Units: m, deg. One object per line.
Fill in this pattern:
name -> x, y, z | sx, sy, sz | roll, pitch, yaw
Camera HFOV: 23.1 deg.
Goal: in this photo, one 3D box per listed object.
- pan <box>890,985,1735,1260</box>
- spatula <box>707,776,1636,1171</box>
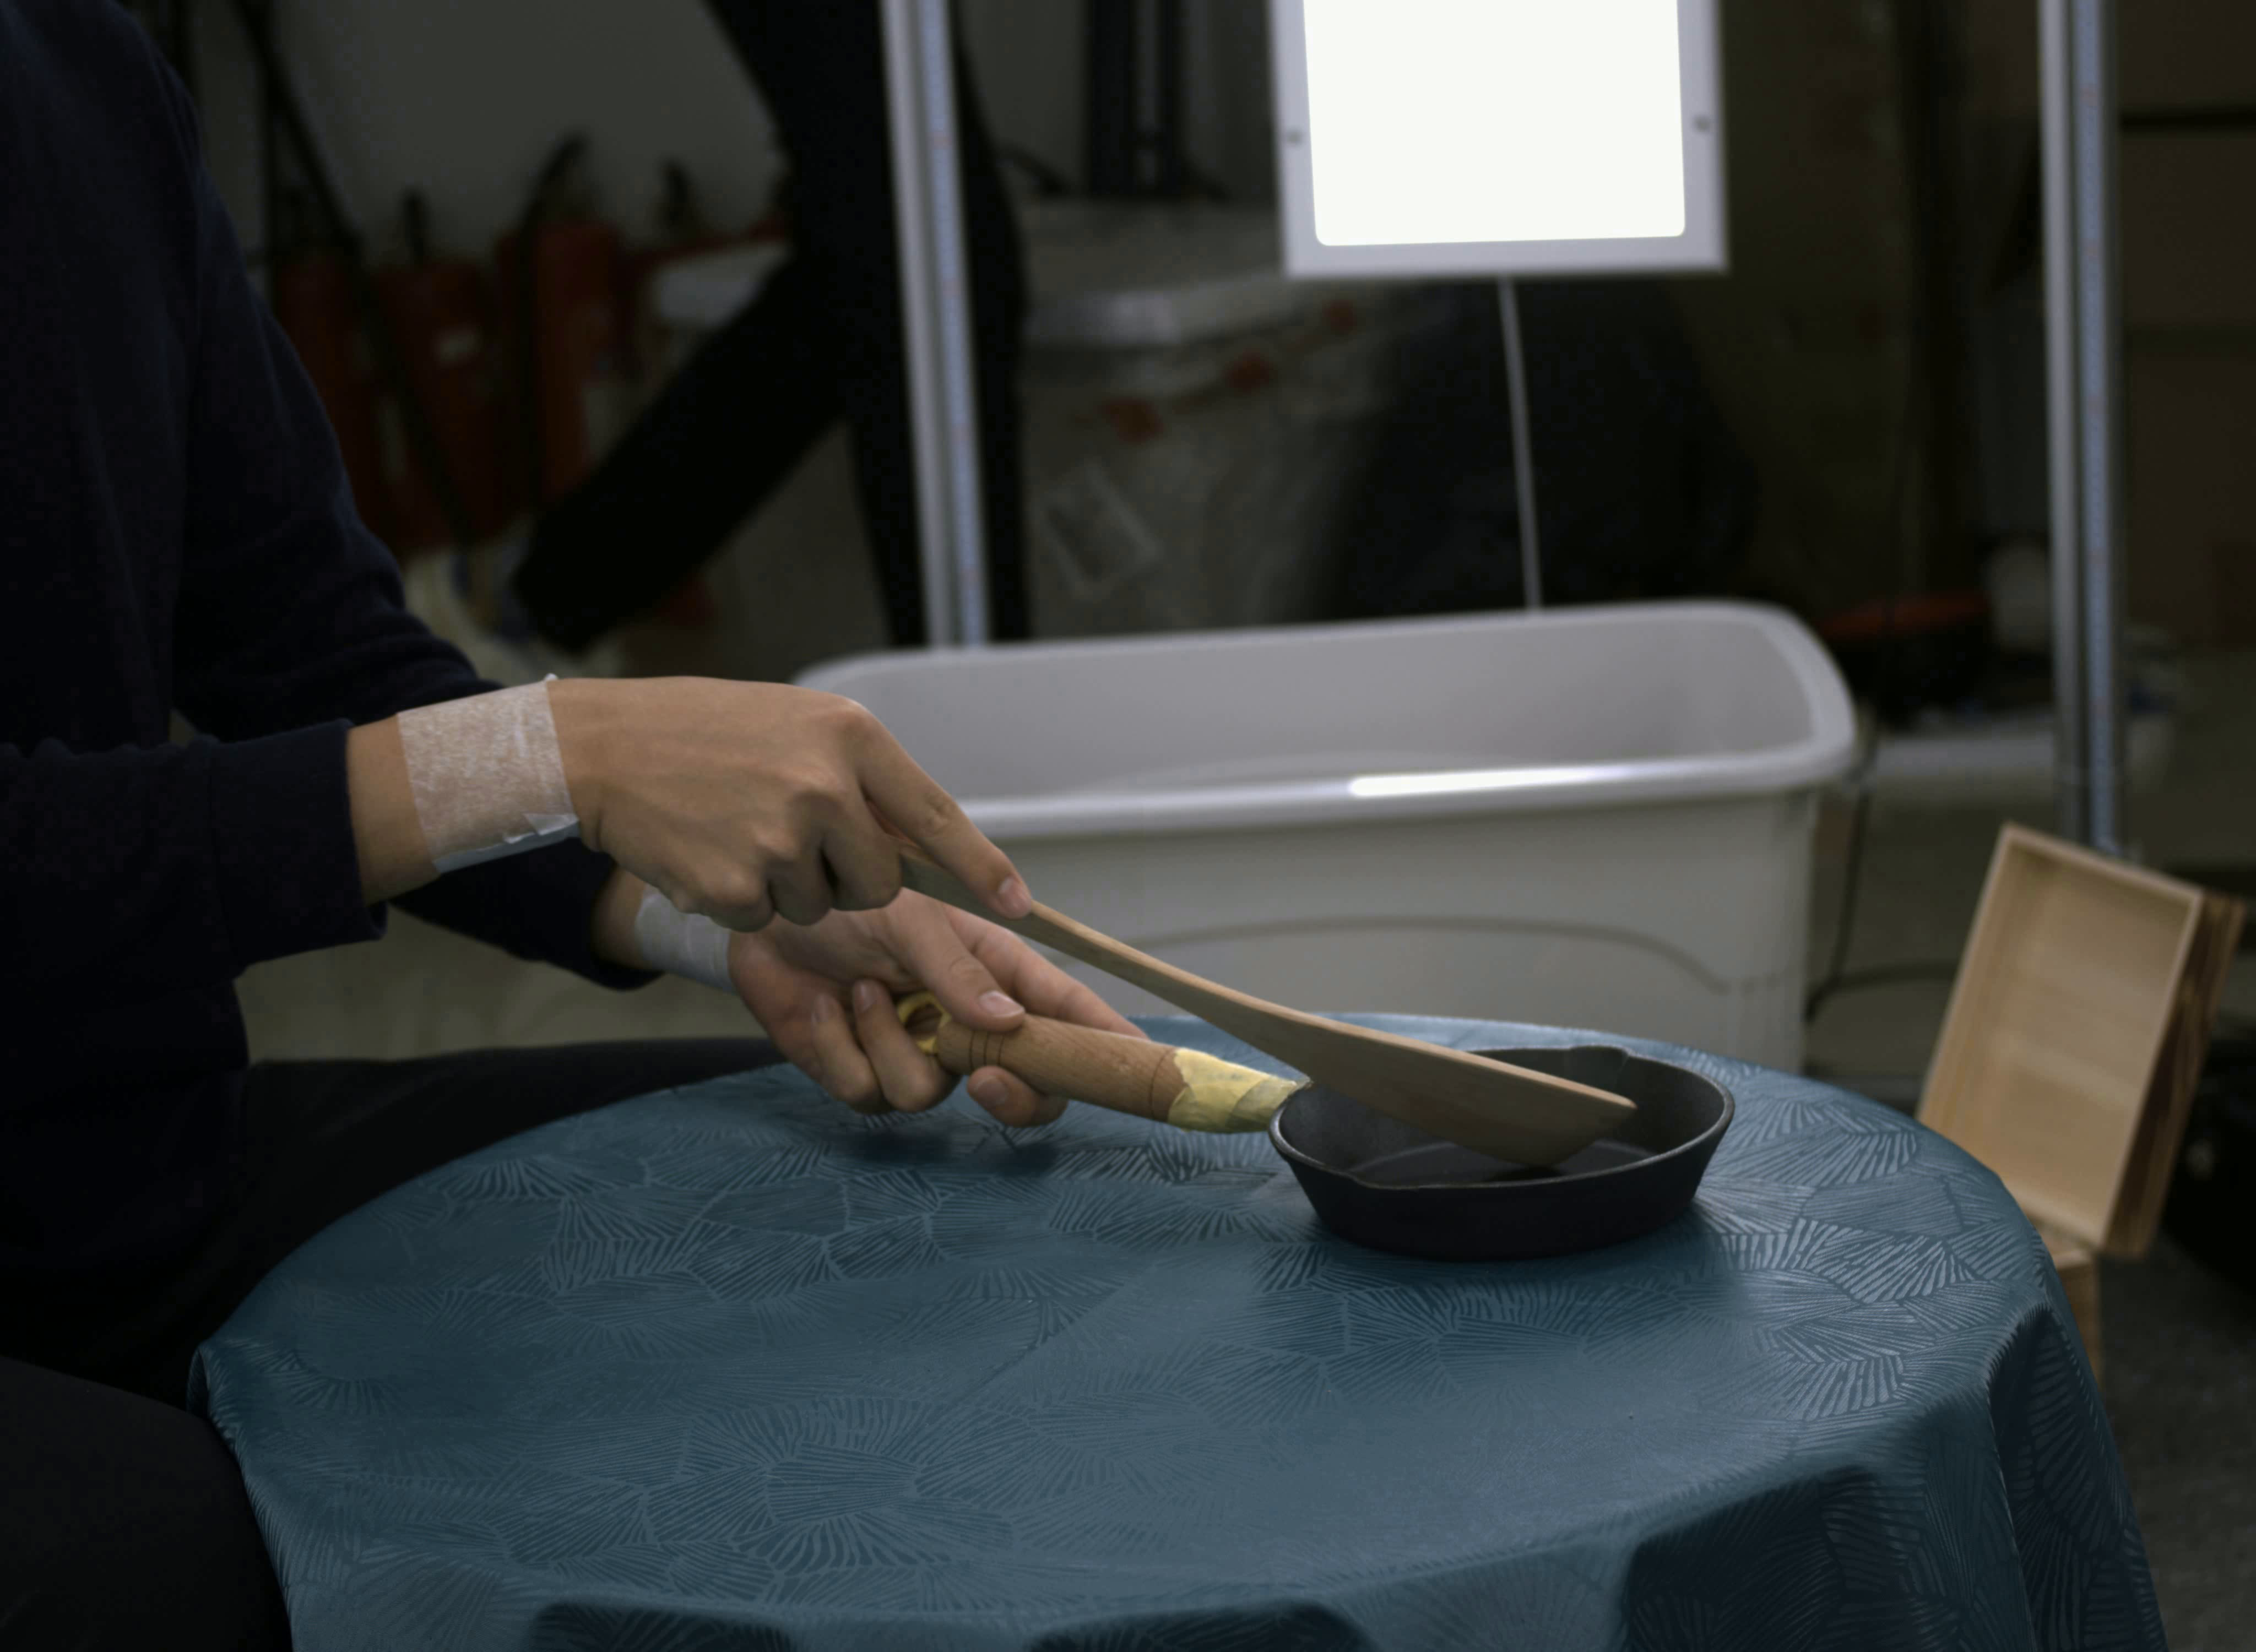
pan -> 0.055, 0.096, 1.893 | 0.330, 0.050, 0.165 | 6, 17, 34
spatula -> 0.011, 0.048, 1.849 | 0.327, 0.016, 0.080 | 23, -25, 3
